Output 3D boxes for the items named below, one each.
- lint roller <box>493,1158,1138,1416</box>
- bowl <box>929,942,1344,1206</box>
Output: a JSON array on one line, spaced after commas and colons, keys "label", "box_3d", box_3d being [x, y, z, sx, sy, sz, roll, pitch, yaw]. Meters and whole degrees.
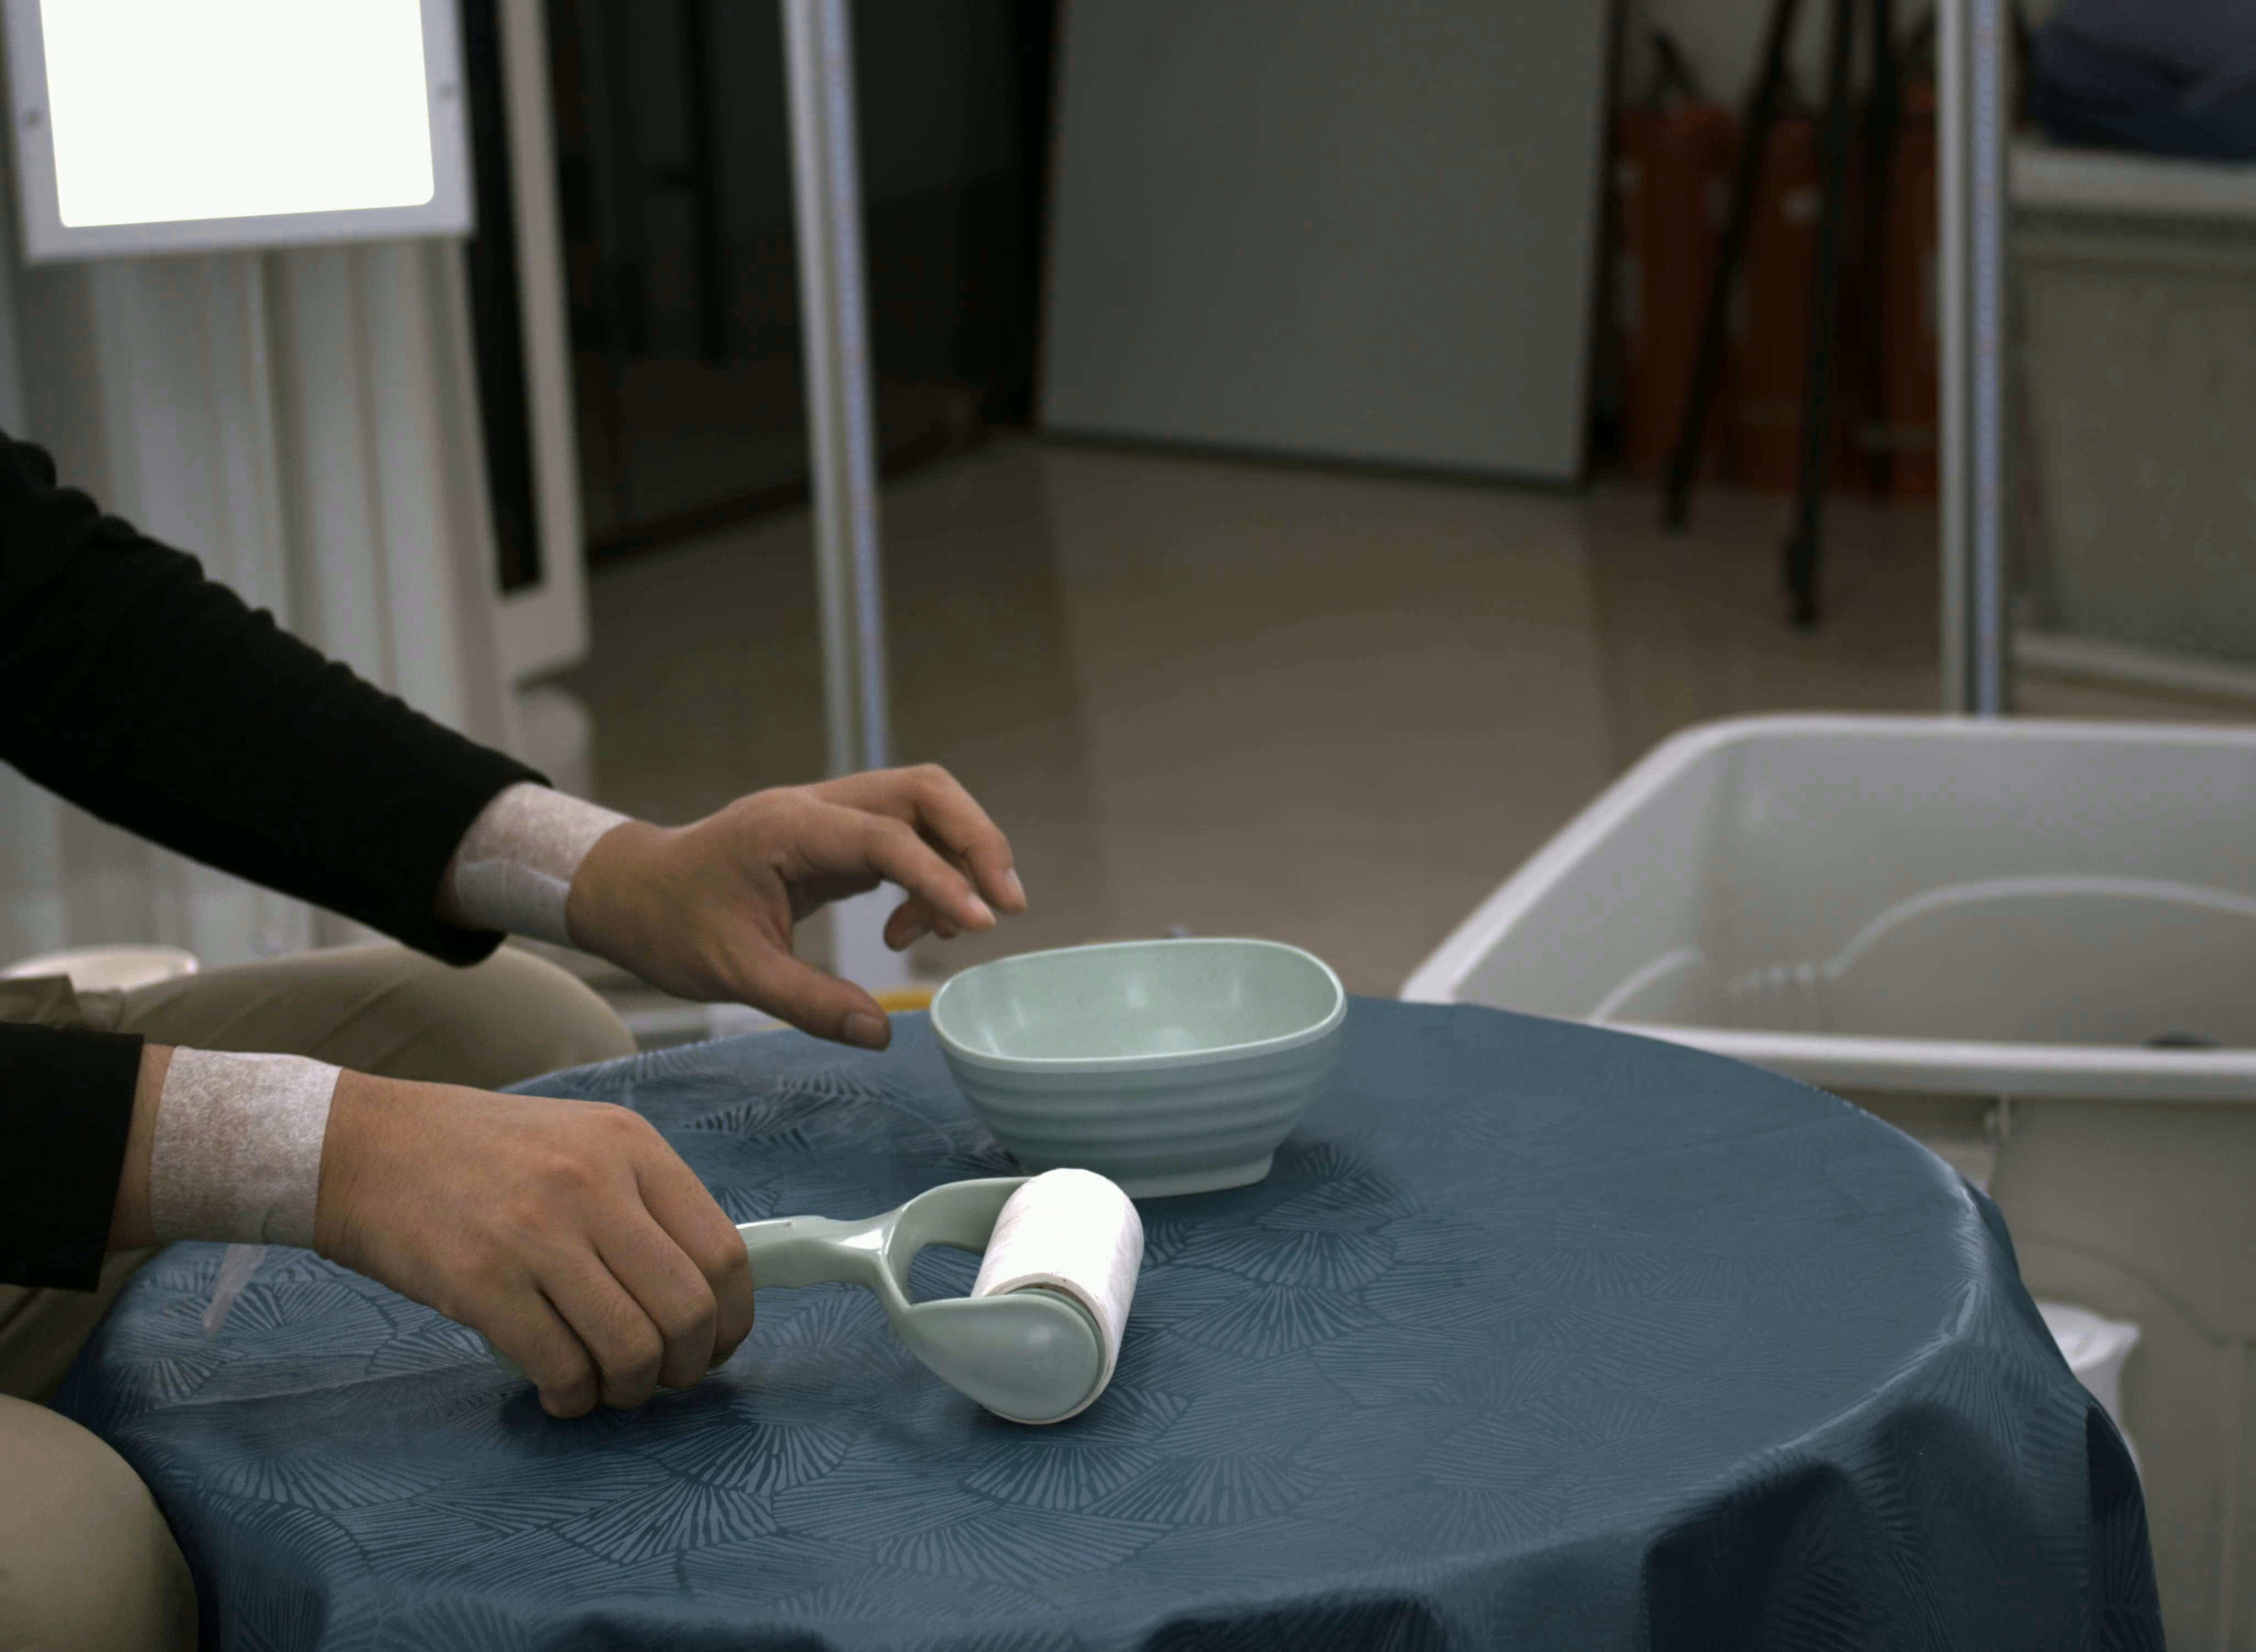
[{"label": "lint roller", "box_3d": [-0.094, 0.140, 1.620, 0.195, 0.049, 0.116, -2, 15, 6]}, {"label": "bowl", "box_3d": [0.004, 0.085, 1.795, 0.149, 0.059, 0.152, -3, 15, 0]}]
